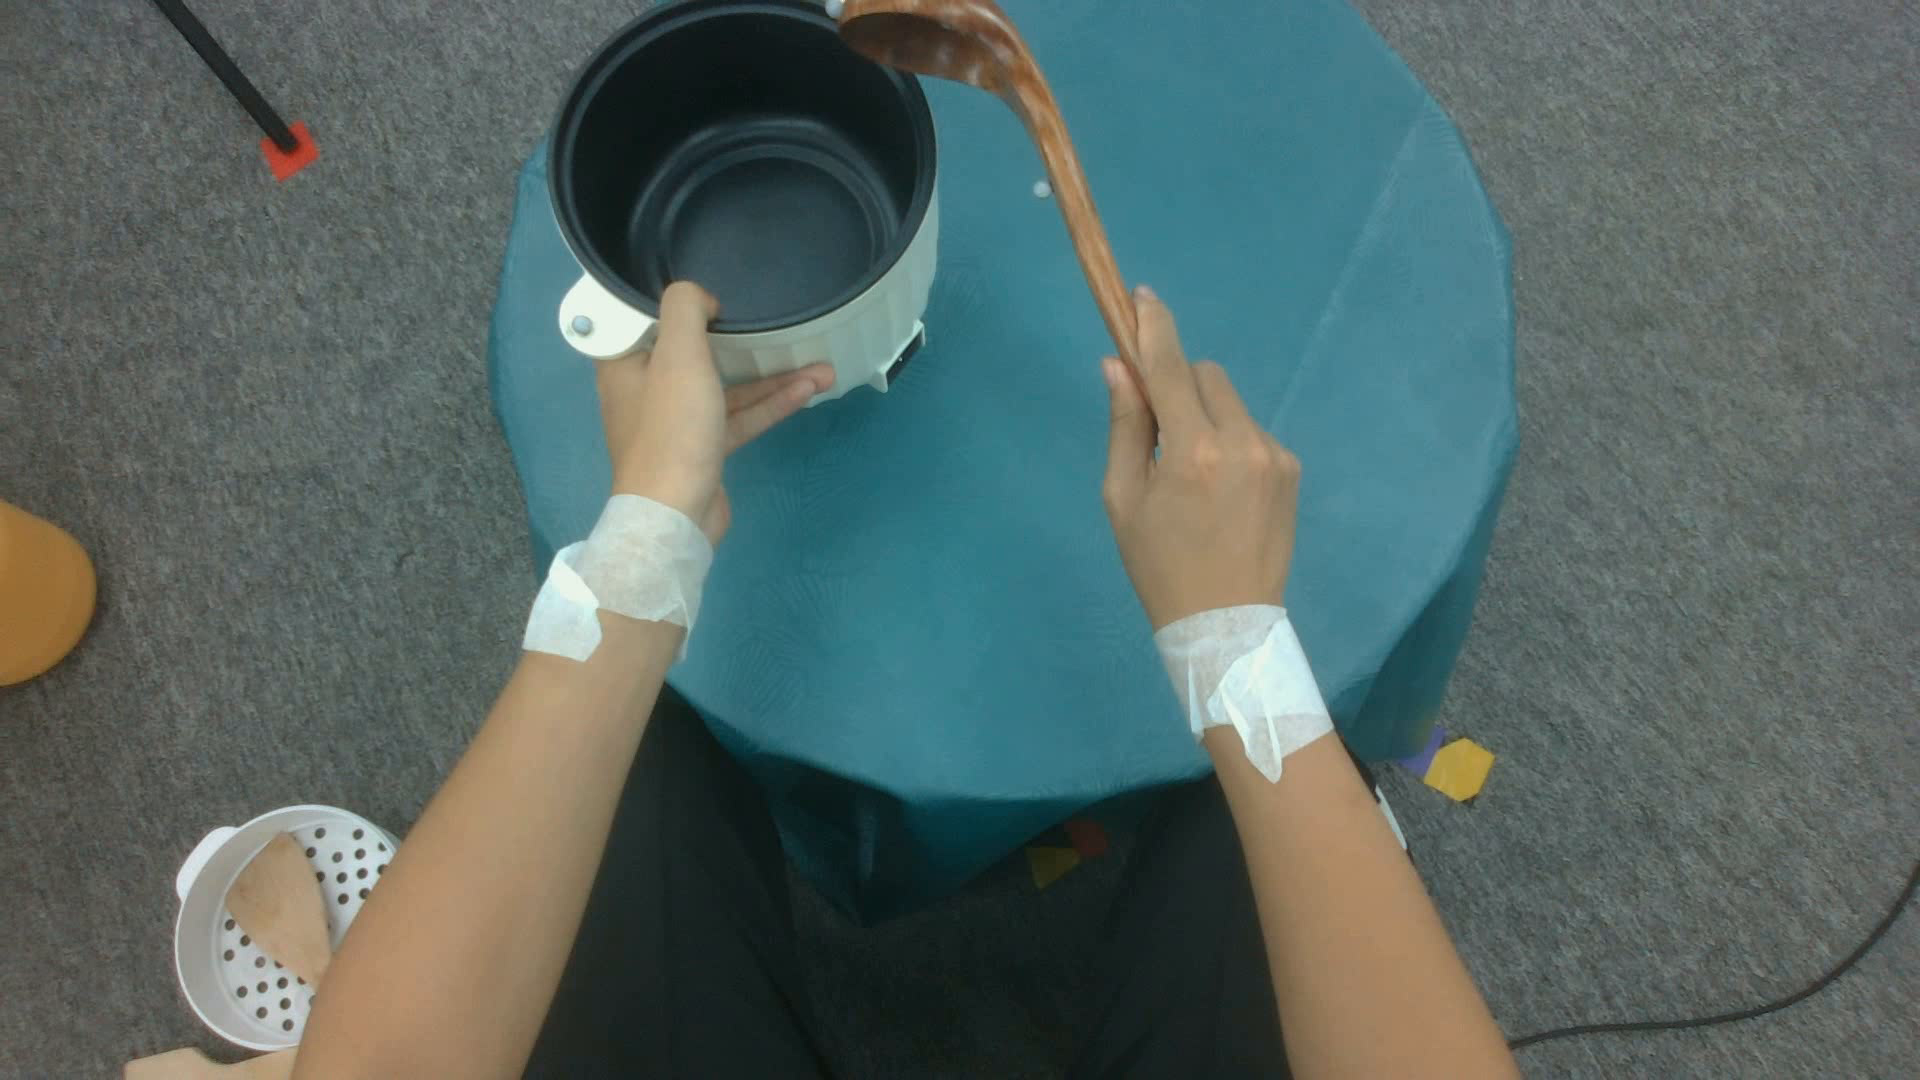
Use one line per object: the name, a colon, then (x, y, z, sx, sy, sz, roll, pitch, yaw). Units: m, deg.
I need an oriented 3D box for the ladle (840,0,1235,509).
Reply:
ladle: (0.033, -0.125, 0.625, 0.076, 0.082, 0.274, -25, 91, 9)

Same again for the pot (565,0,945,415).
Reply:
pot: (-0.103, -0.162, 0.720, 0.190, 0.142, 0.241, 35, 76, 7)
